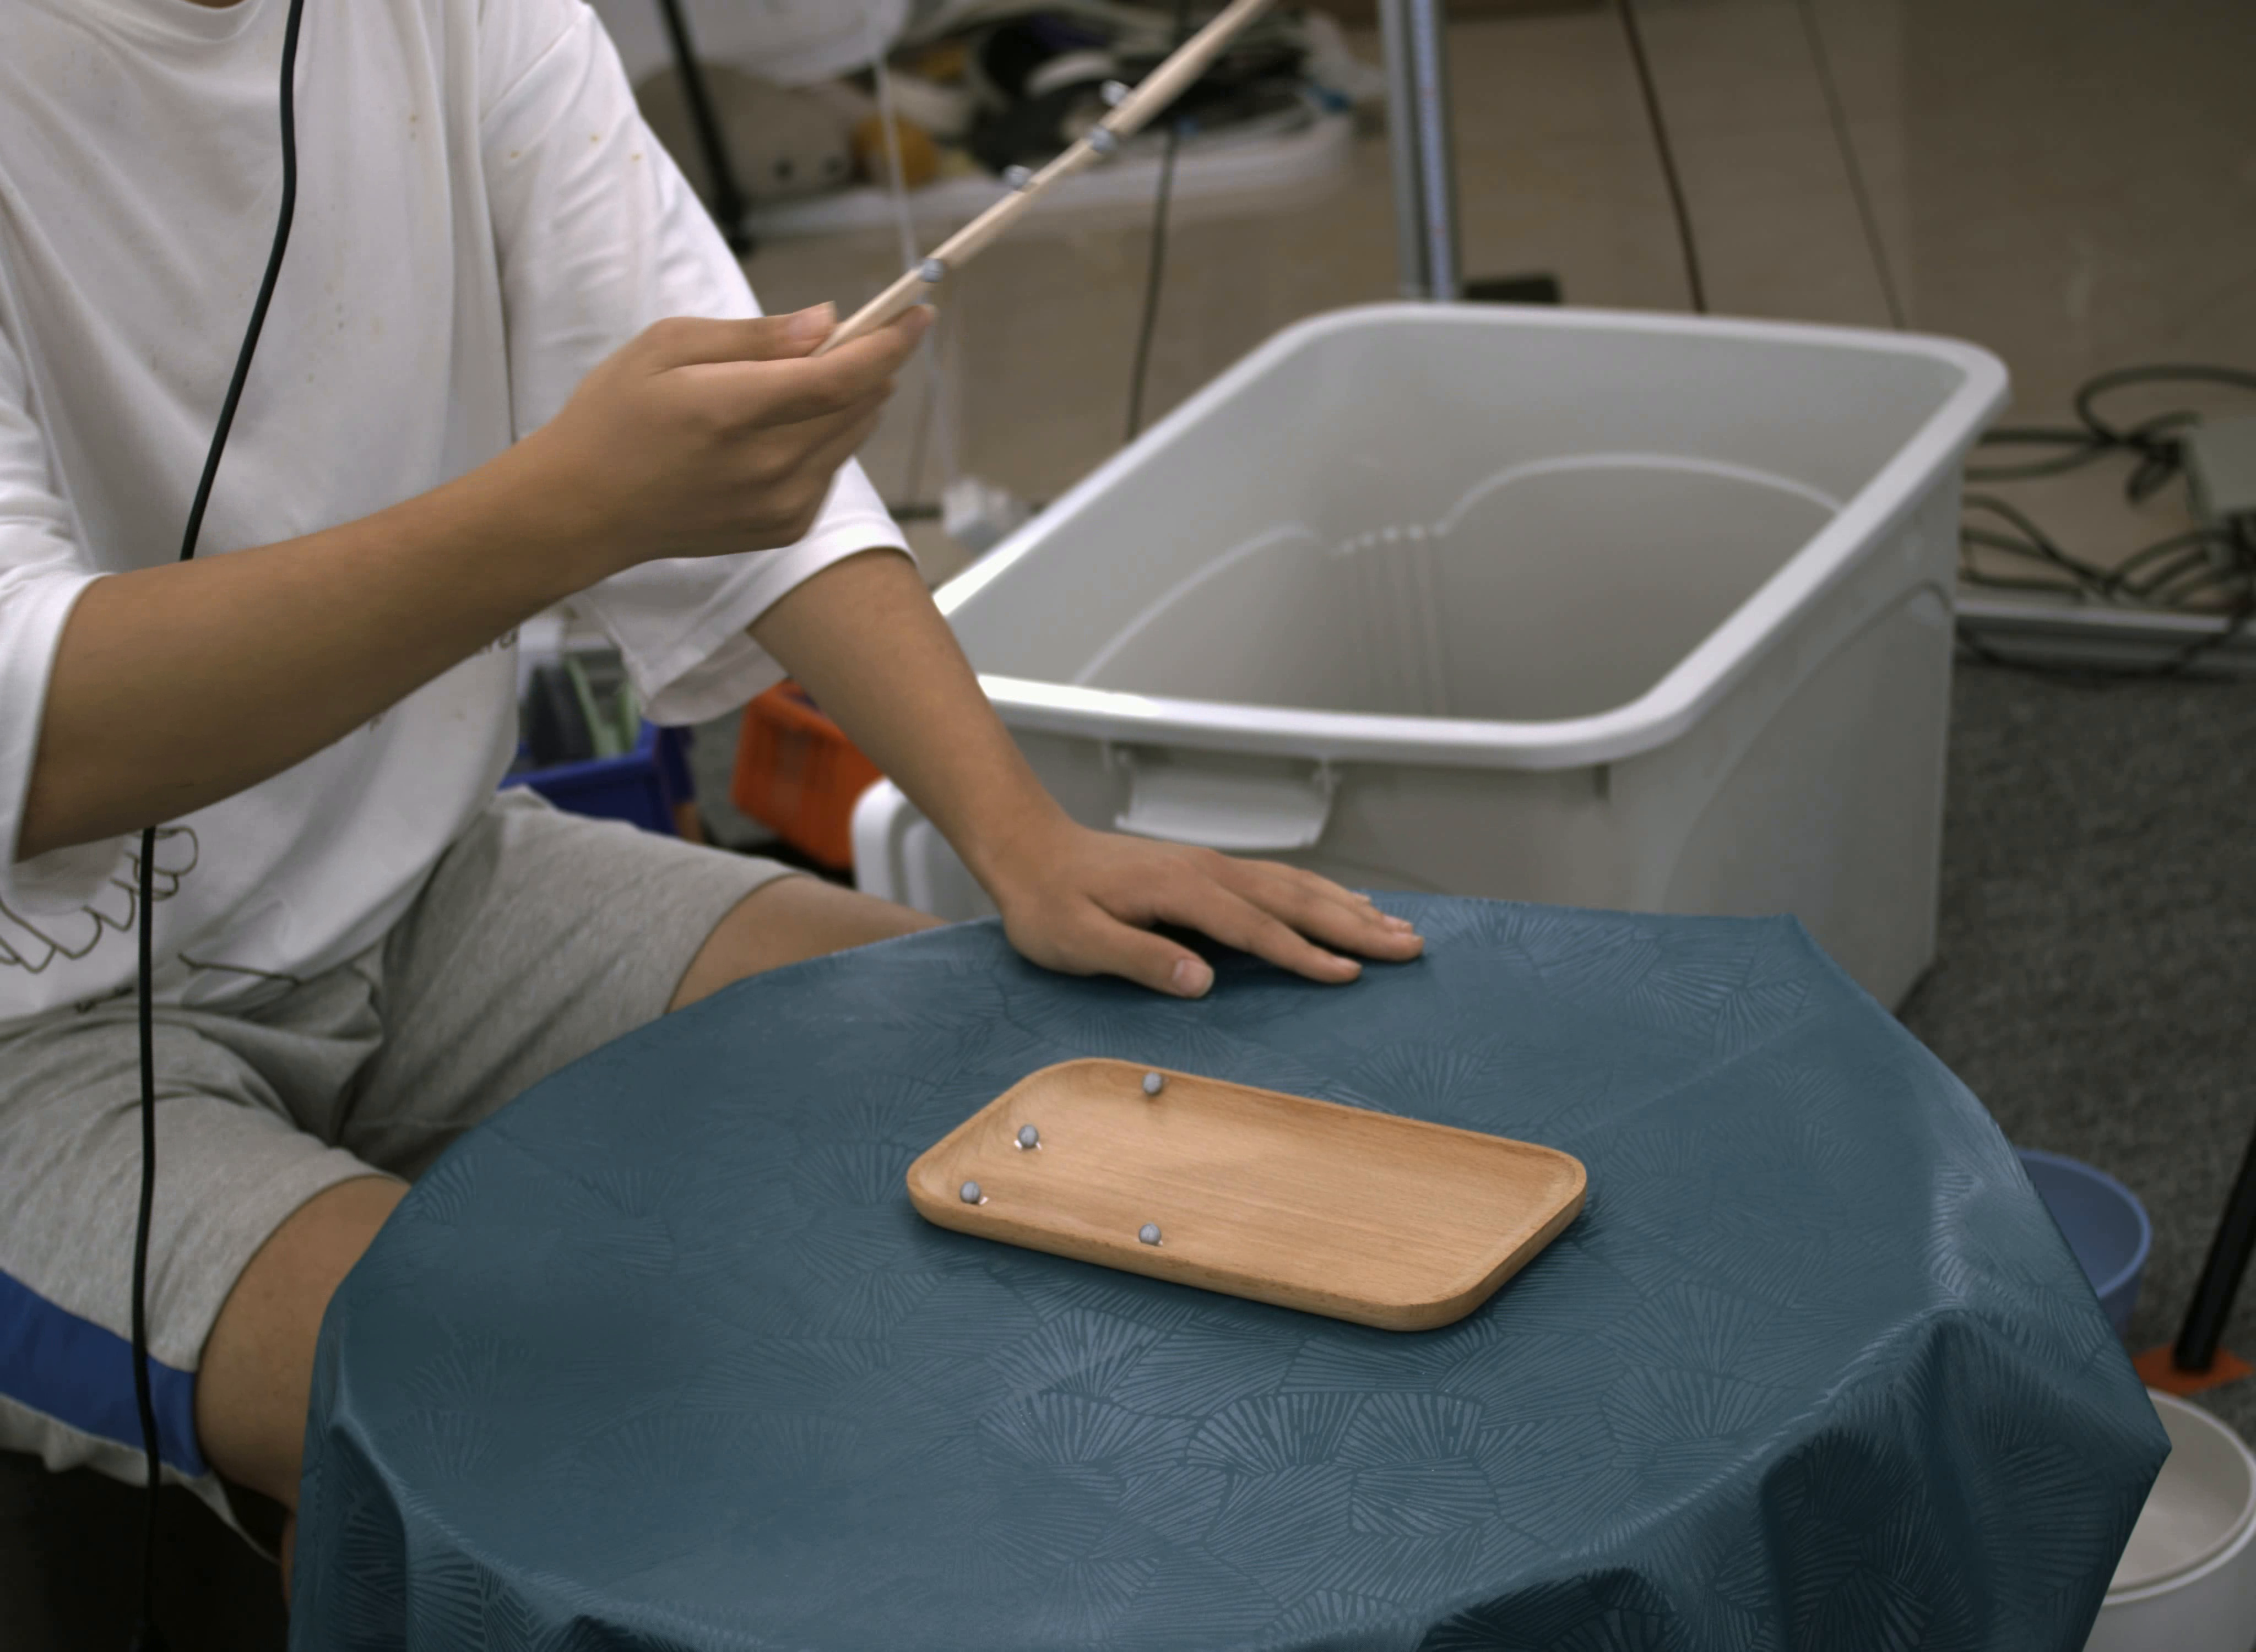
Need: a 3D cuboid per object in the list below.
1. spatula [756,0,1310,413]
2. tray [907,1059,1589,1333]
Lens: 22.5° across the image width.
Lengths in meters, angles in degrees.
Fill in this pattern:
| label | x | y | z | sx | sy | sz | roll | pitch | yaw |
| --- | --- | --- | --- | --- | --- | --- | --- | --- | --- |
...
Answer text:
| label | x | y | z | sx | sy | sz | roll | pitch | yaw |
| --- | --- | --- | --- | --- | --- | --- | --- | --- | --- |
| spatula | -0.039 | -0.206 | 1.912 | 0.295 | 0.011 | 0.071 | -31 | 11 | 45 |
| tray | 0.043 | 0.137 | 2.121 | 0.249 | 0.023 | 0.129 | 12 | 33 | 34 |
